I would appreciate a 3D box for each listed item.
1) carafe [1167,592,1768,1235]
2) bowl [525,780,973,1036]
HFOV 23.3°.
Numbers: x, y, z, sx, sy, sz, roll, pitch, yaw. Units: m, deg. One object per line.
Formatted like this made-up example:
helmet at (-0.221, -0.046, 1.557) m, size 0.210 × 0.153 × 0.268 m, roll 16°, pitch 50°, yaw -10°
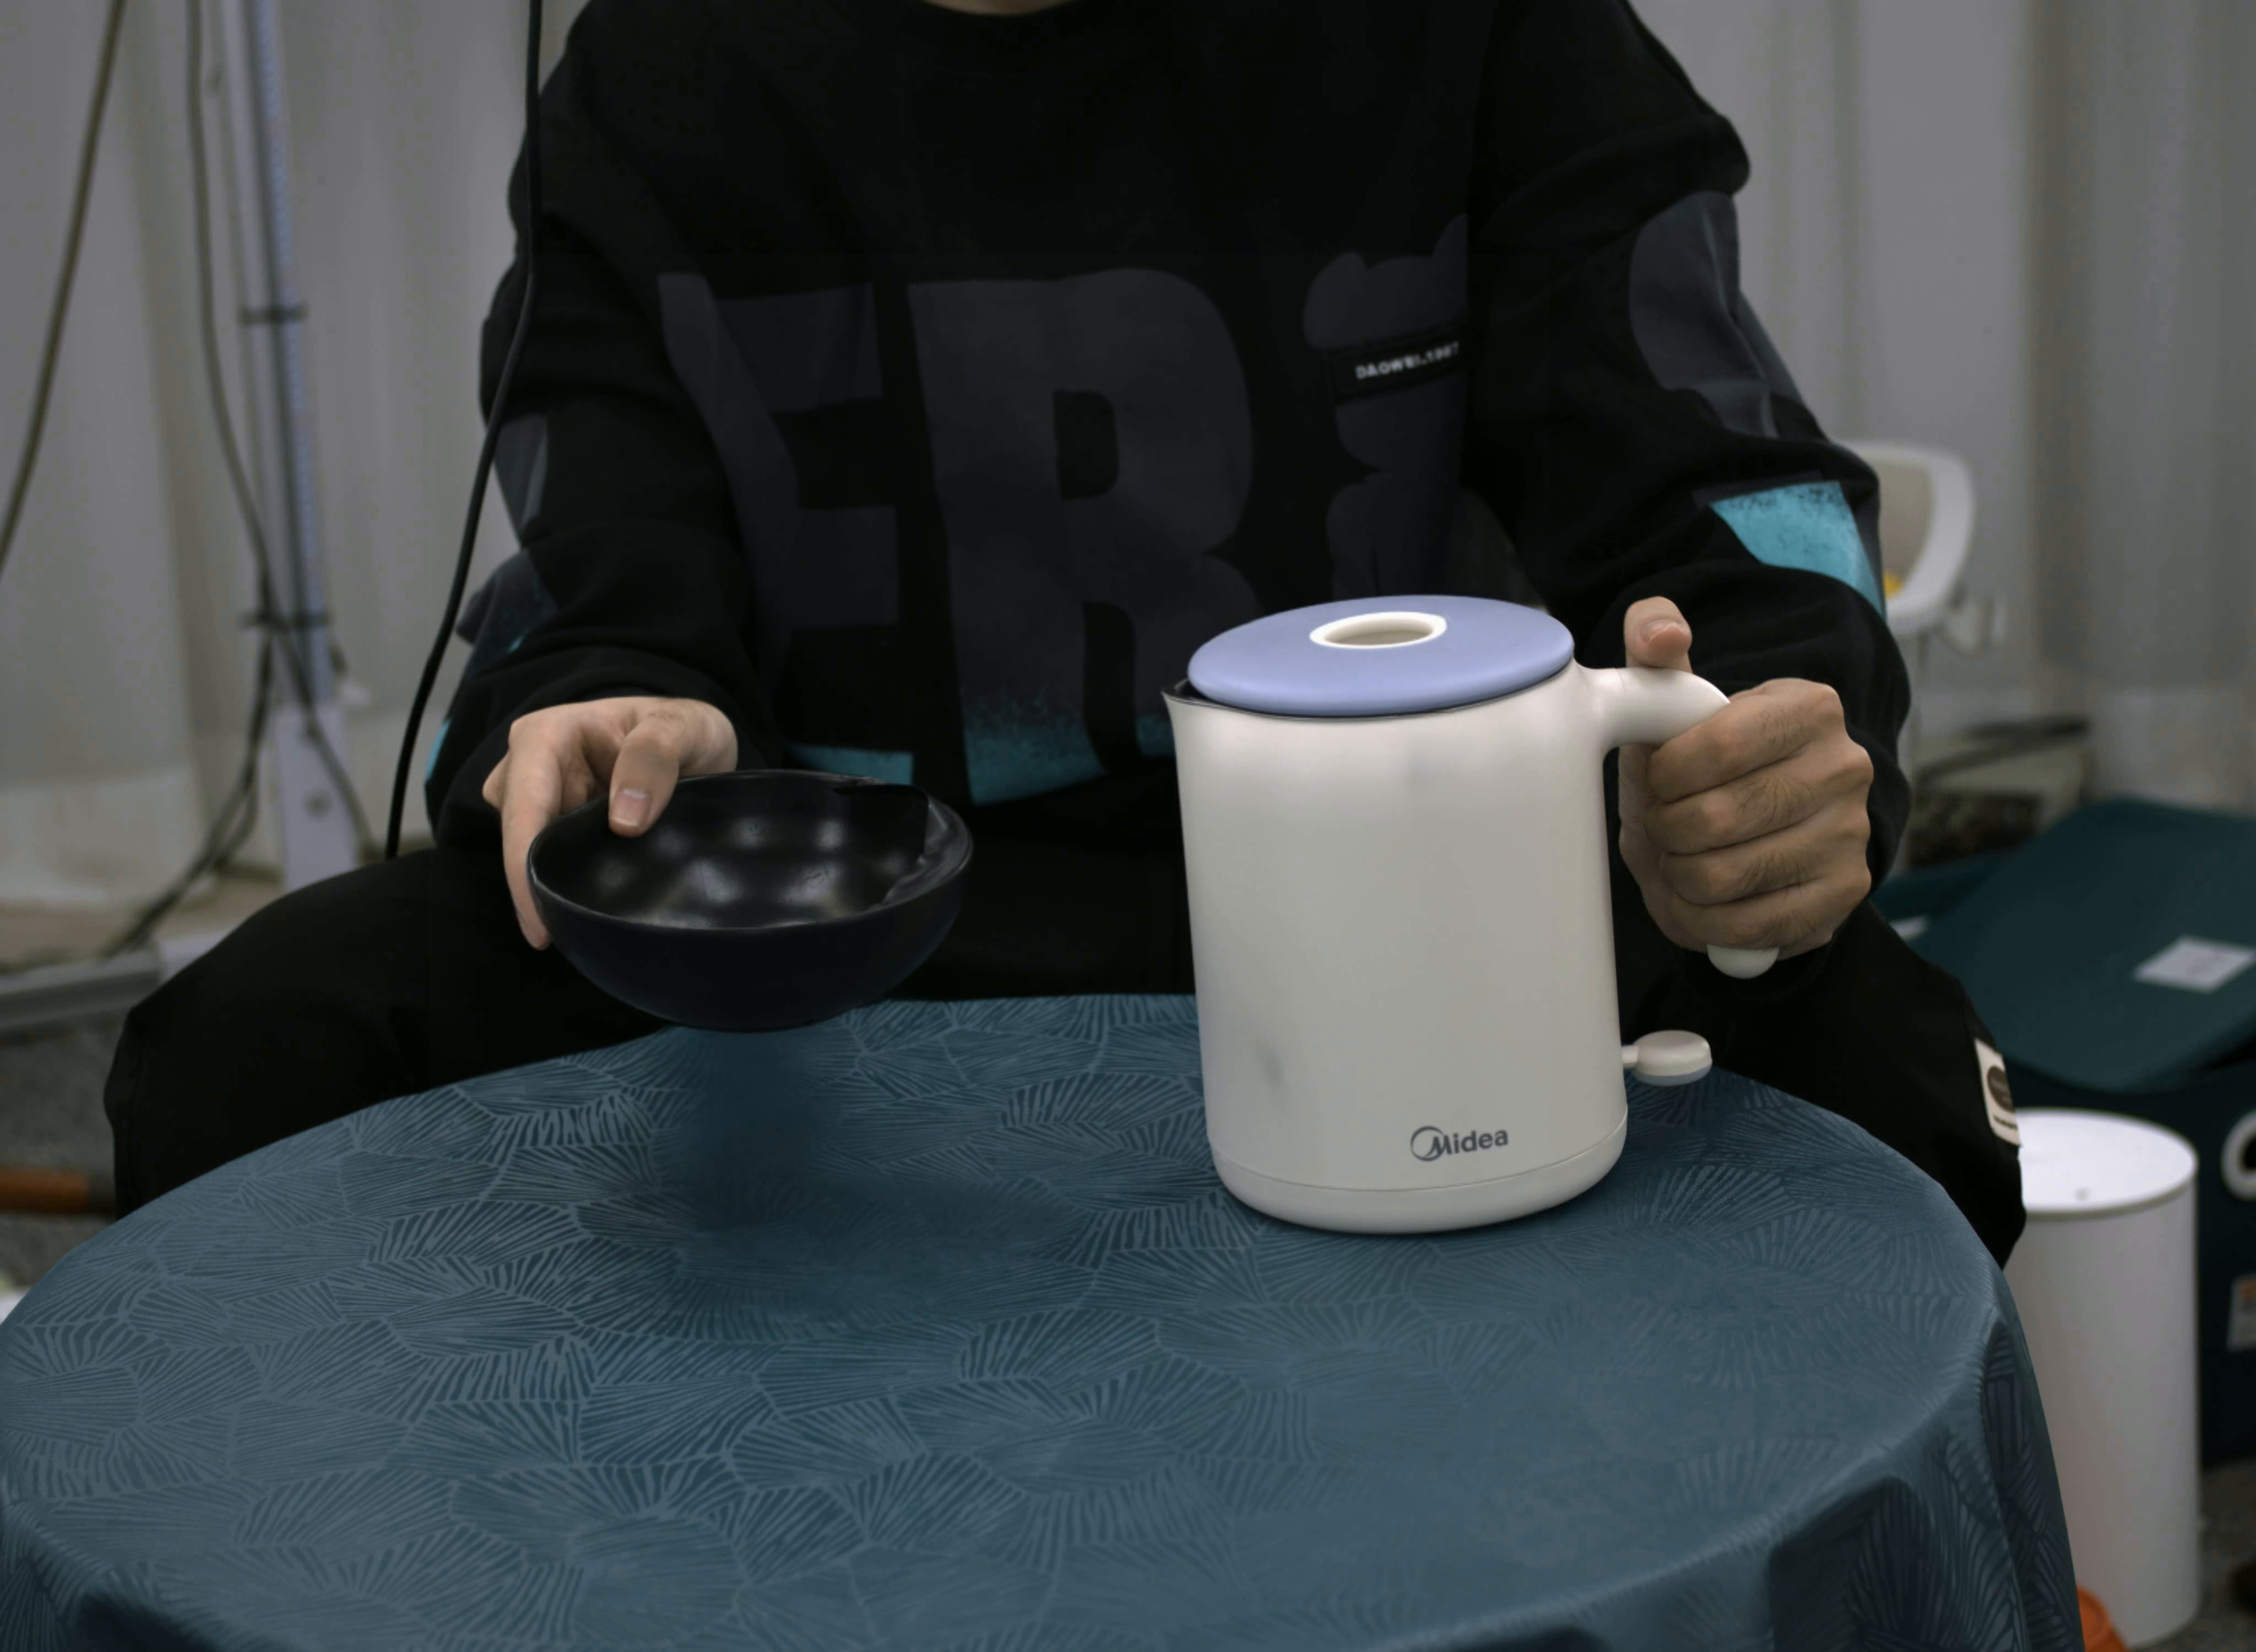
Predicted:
carafe at (0.107, 0.024, 1.697) m, size 0.190 × 0.182 × 0.133 m, roll -5°, pitch 16°, yaw -10°
bowl at (-0.115, 0.030, 1.694) m, size 0.139 × 0.049 × 0.141 m, roll -3°, pitch 18°, yaw 1°
